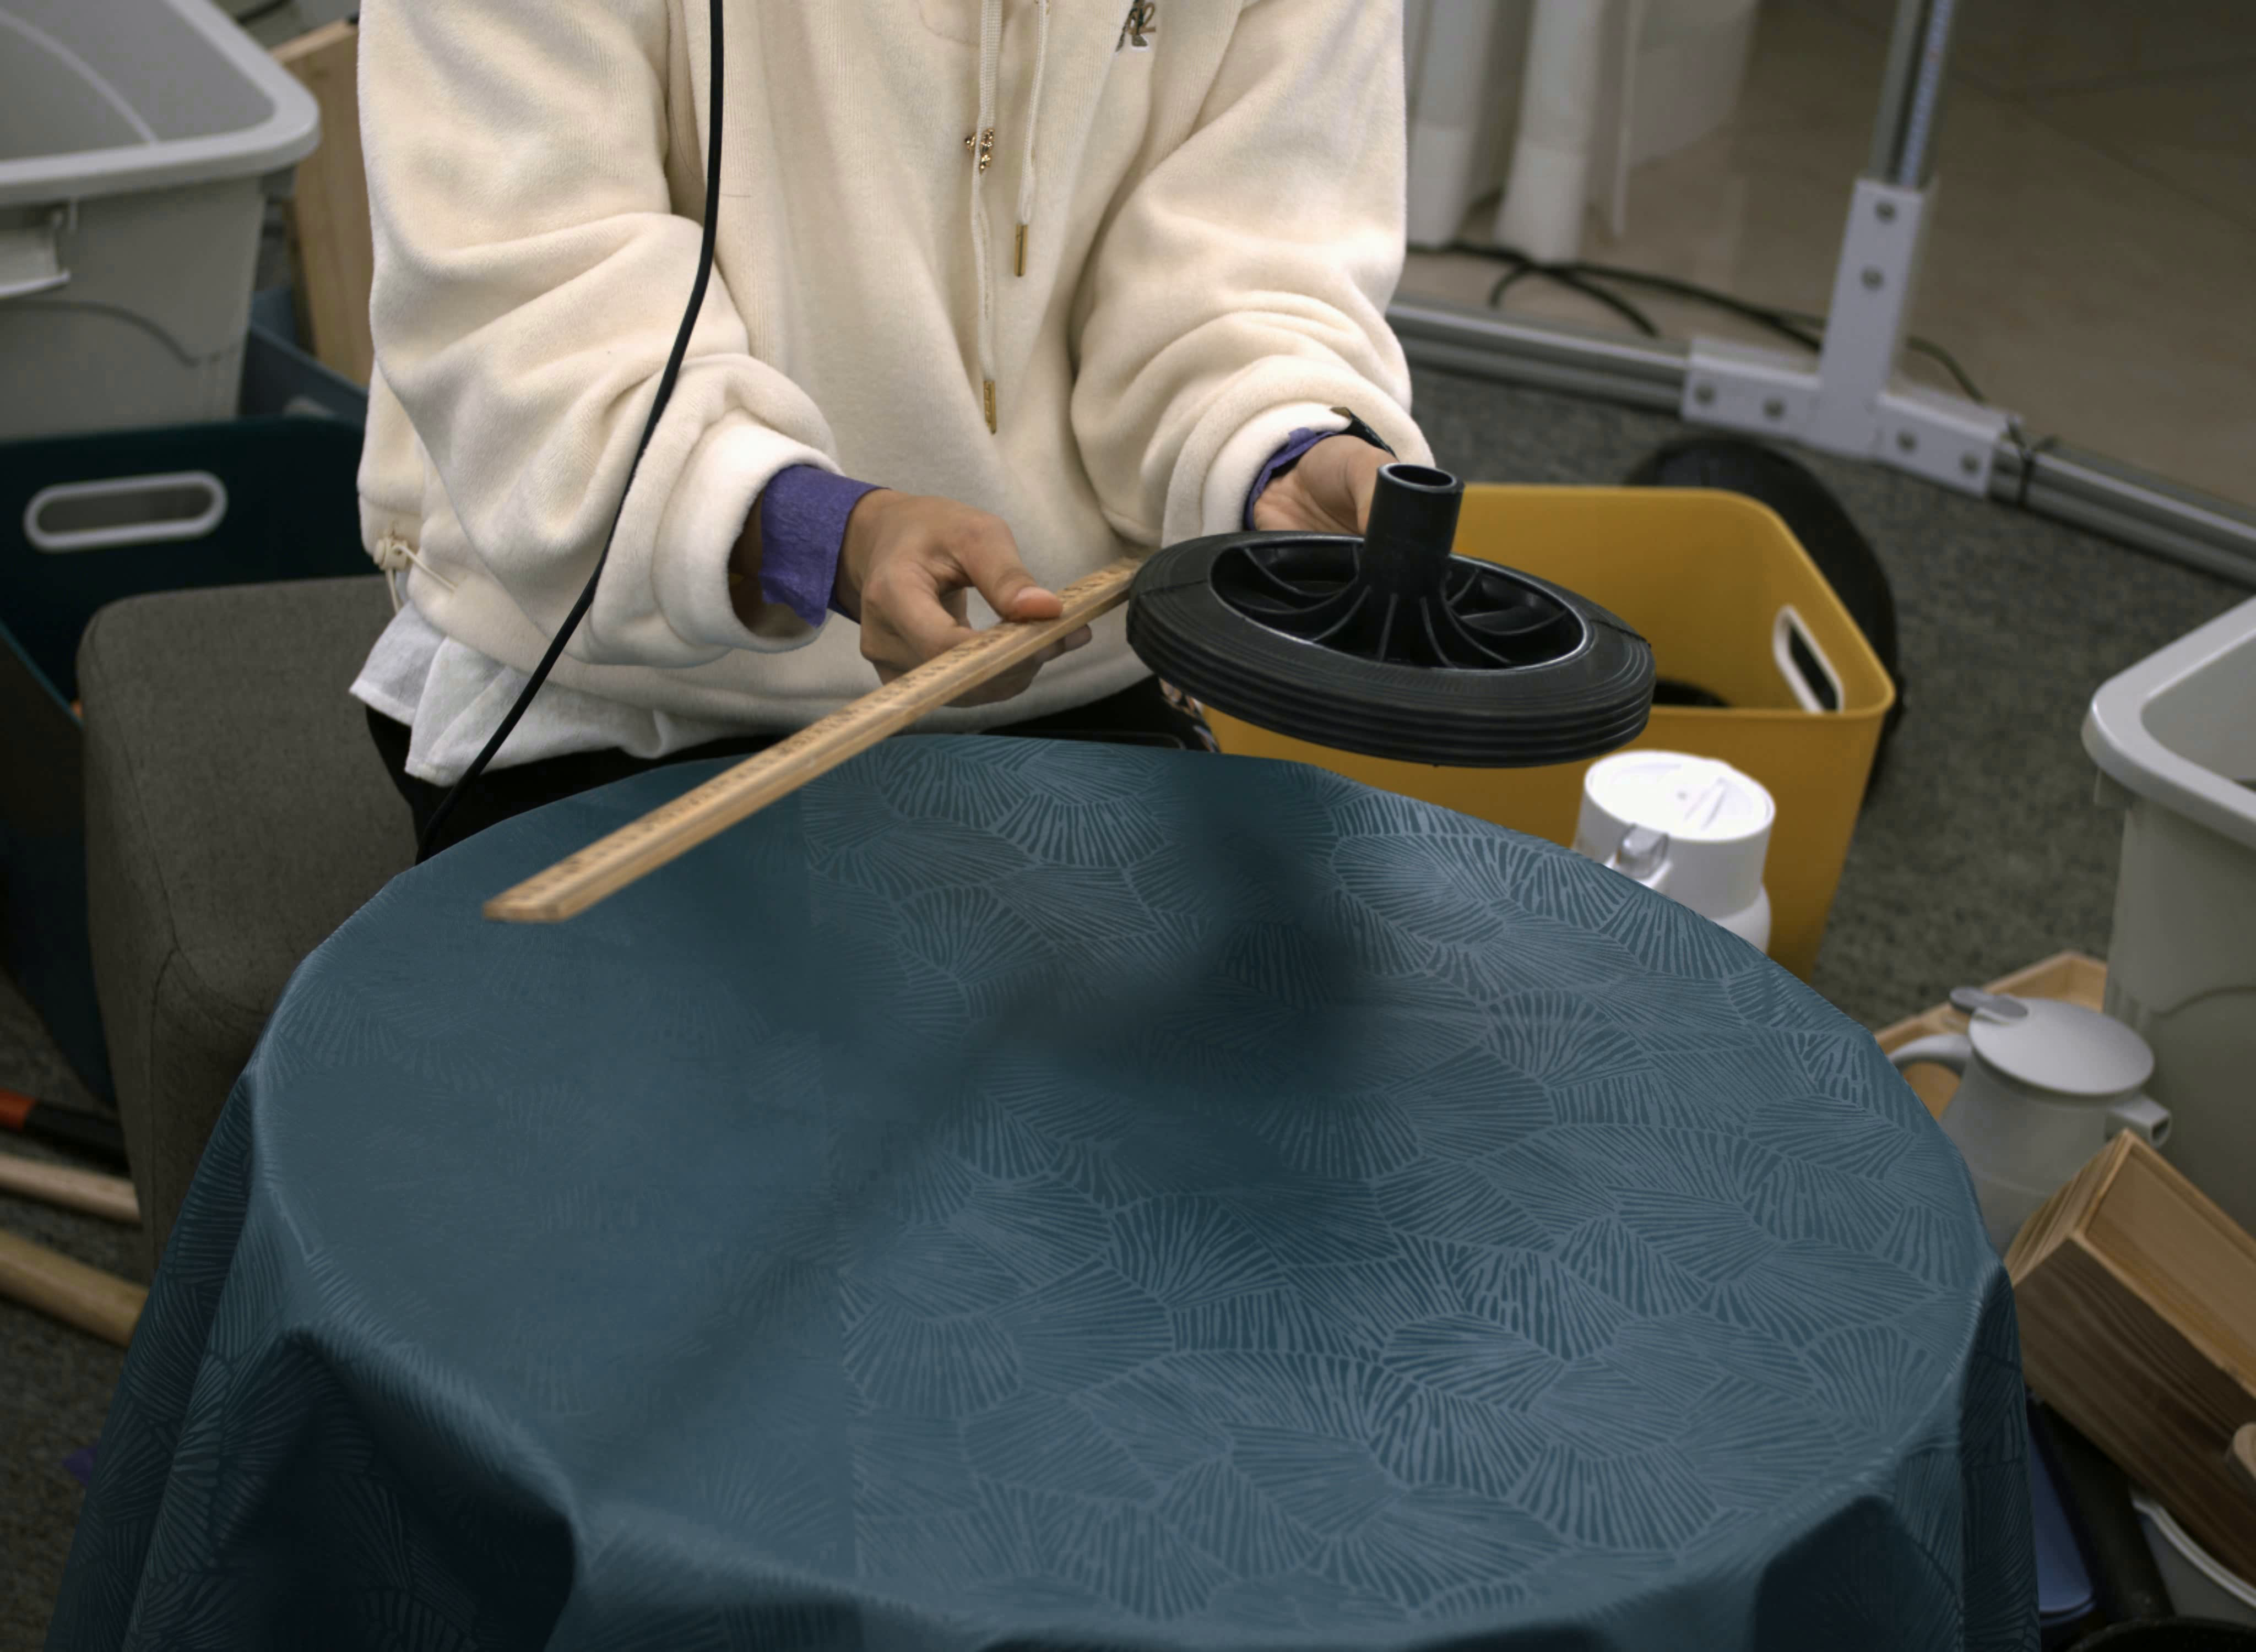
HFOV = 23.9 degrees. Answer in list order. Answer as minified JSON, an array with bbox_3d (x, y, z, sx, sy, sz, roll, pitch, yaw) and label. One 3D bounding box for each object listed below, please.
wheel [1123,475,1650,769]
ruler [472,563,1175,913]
[{"bbox_3d":[0.095,-0.081,1.870,0.188,0.079,0.189,18,21,23],"label":"wheel"},{"bbox_3d":[-0.084,-0.036,1.711,0.027,0.006,0.499,-1,13,22],"label":"ruler"}]
